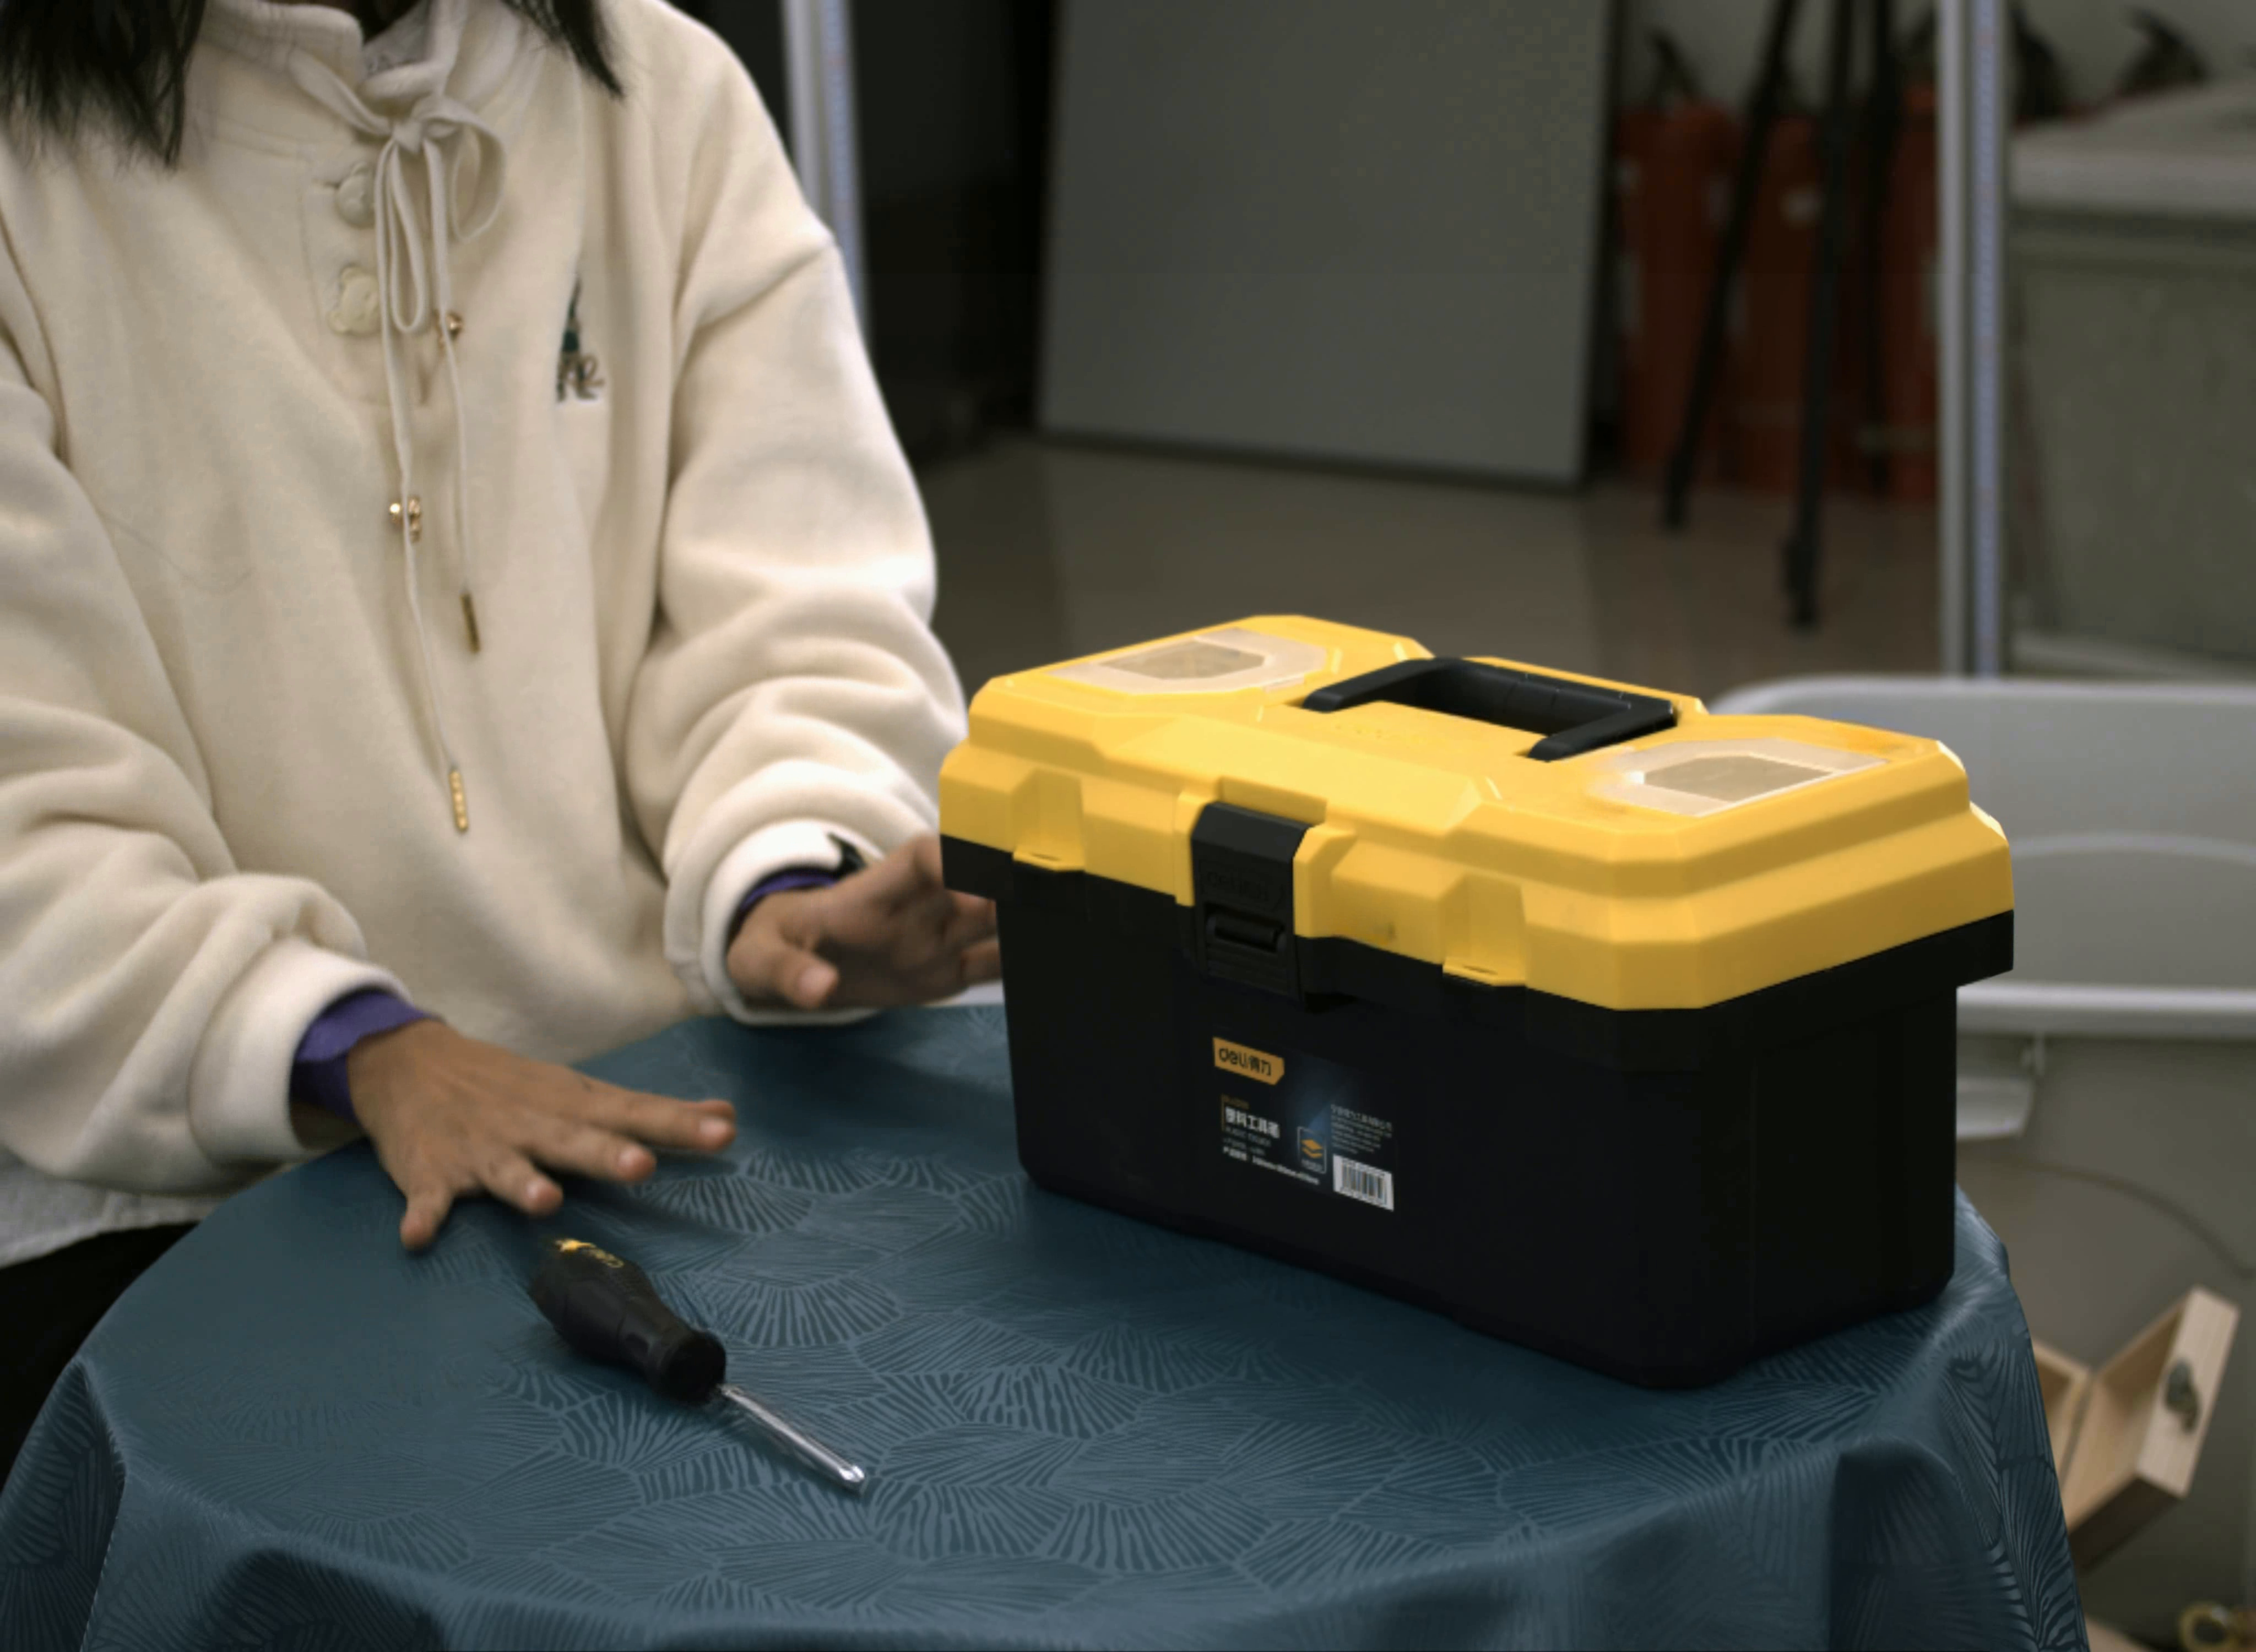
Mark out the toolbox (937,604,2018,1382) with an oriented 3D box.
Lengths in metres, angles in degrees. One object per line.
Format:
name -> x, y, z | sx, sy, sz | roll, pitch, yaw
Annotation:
toolbox -> 0.102, 0.045, 1.683 | 0.177, 0.175, 0.355 | -14, 17, -36

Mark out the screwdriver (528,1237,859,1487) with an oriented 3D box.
screwdriver -> -0.128, 0.157, 1.593 | 0.031, 0.032, 0.198 | -11, 16, -29
